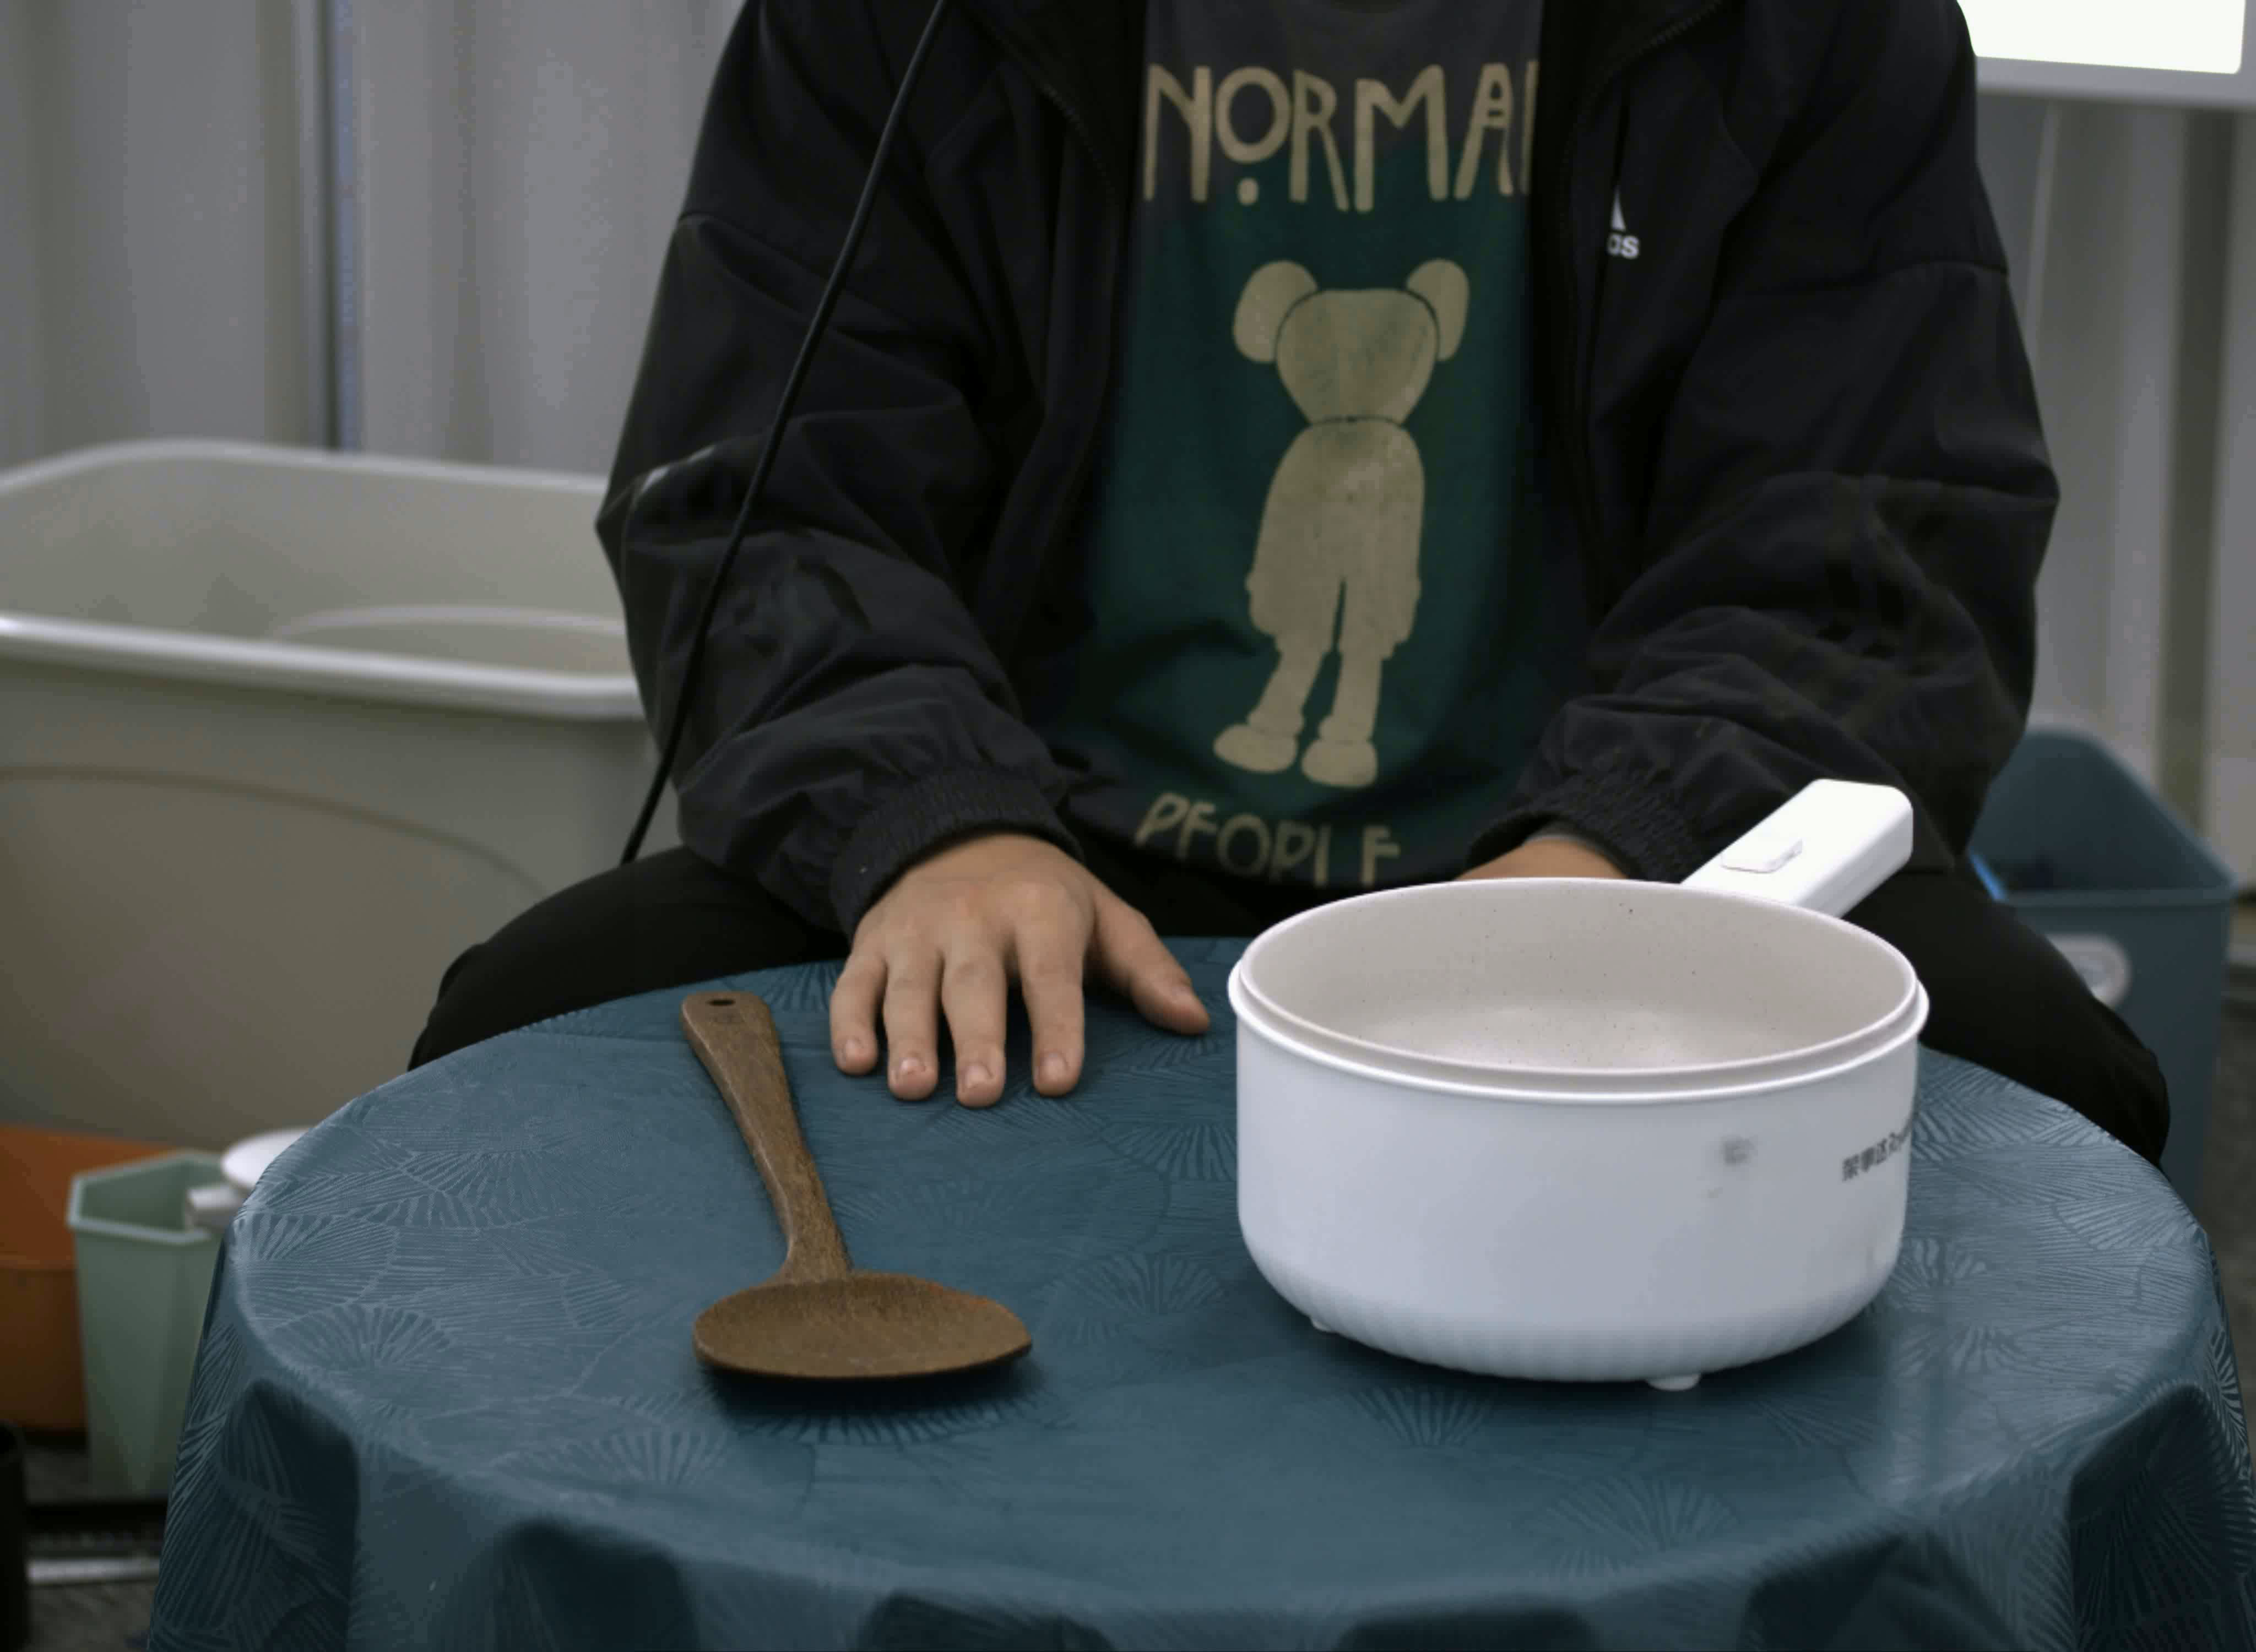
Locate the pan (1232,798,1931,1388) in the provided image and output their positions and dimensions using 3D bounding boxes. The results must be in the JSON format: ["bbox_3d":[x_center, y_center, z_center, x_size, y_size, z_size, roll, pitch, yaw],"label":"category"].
[{"bbox_3d":[0.163,0.074,1.591,0.199,0.103,0.356,7,15,25],"label":"pan"}]

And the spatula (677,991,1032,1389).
[{"bbox_3d":[-0.105,0.105,1.619,0.096,0.016,0.382,-2,15,-11],"label":"spatula"}]
